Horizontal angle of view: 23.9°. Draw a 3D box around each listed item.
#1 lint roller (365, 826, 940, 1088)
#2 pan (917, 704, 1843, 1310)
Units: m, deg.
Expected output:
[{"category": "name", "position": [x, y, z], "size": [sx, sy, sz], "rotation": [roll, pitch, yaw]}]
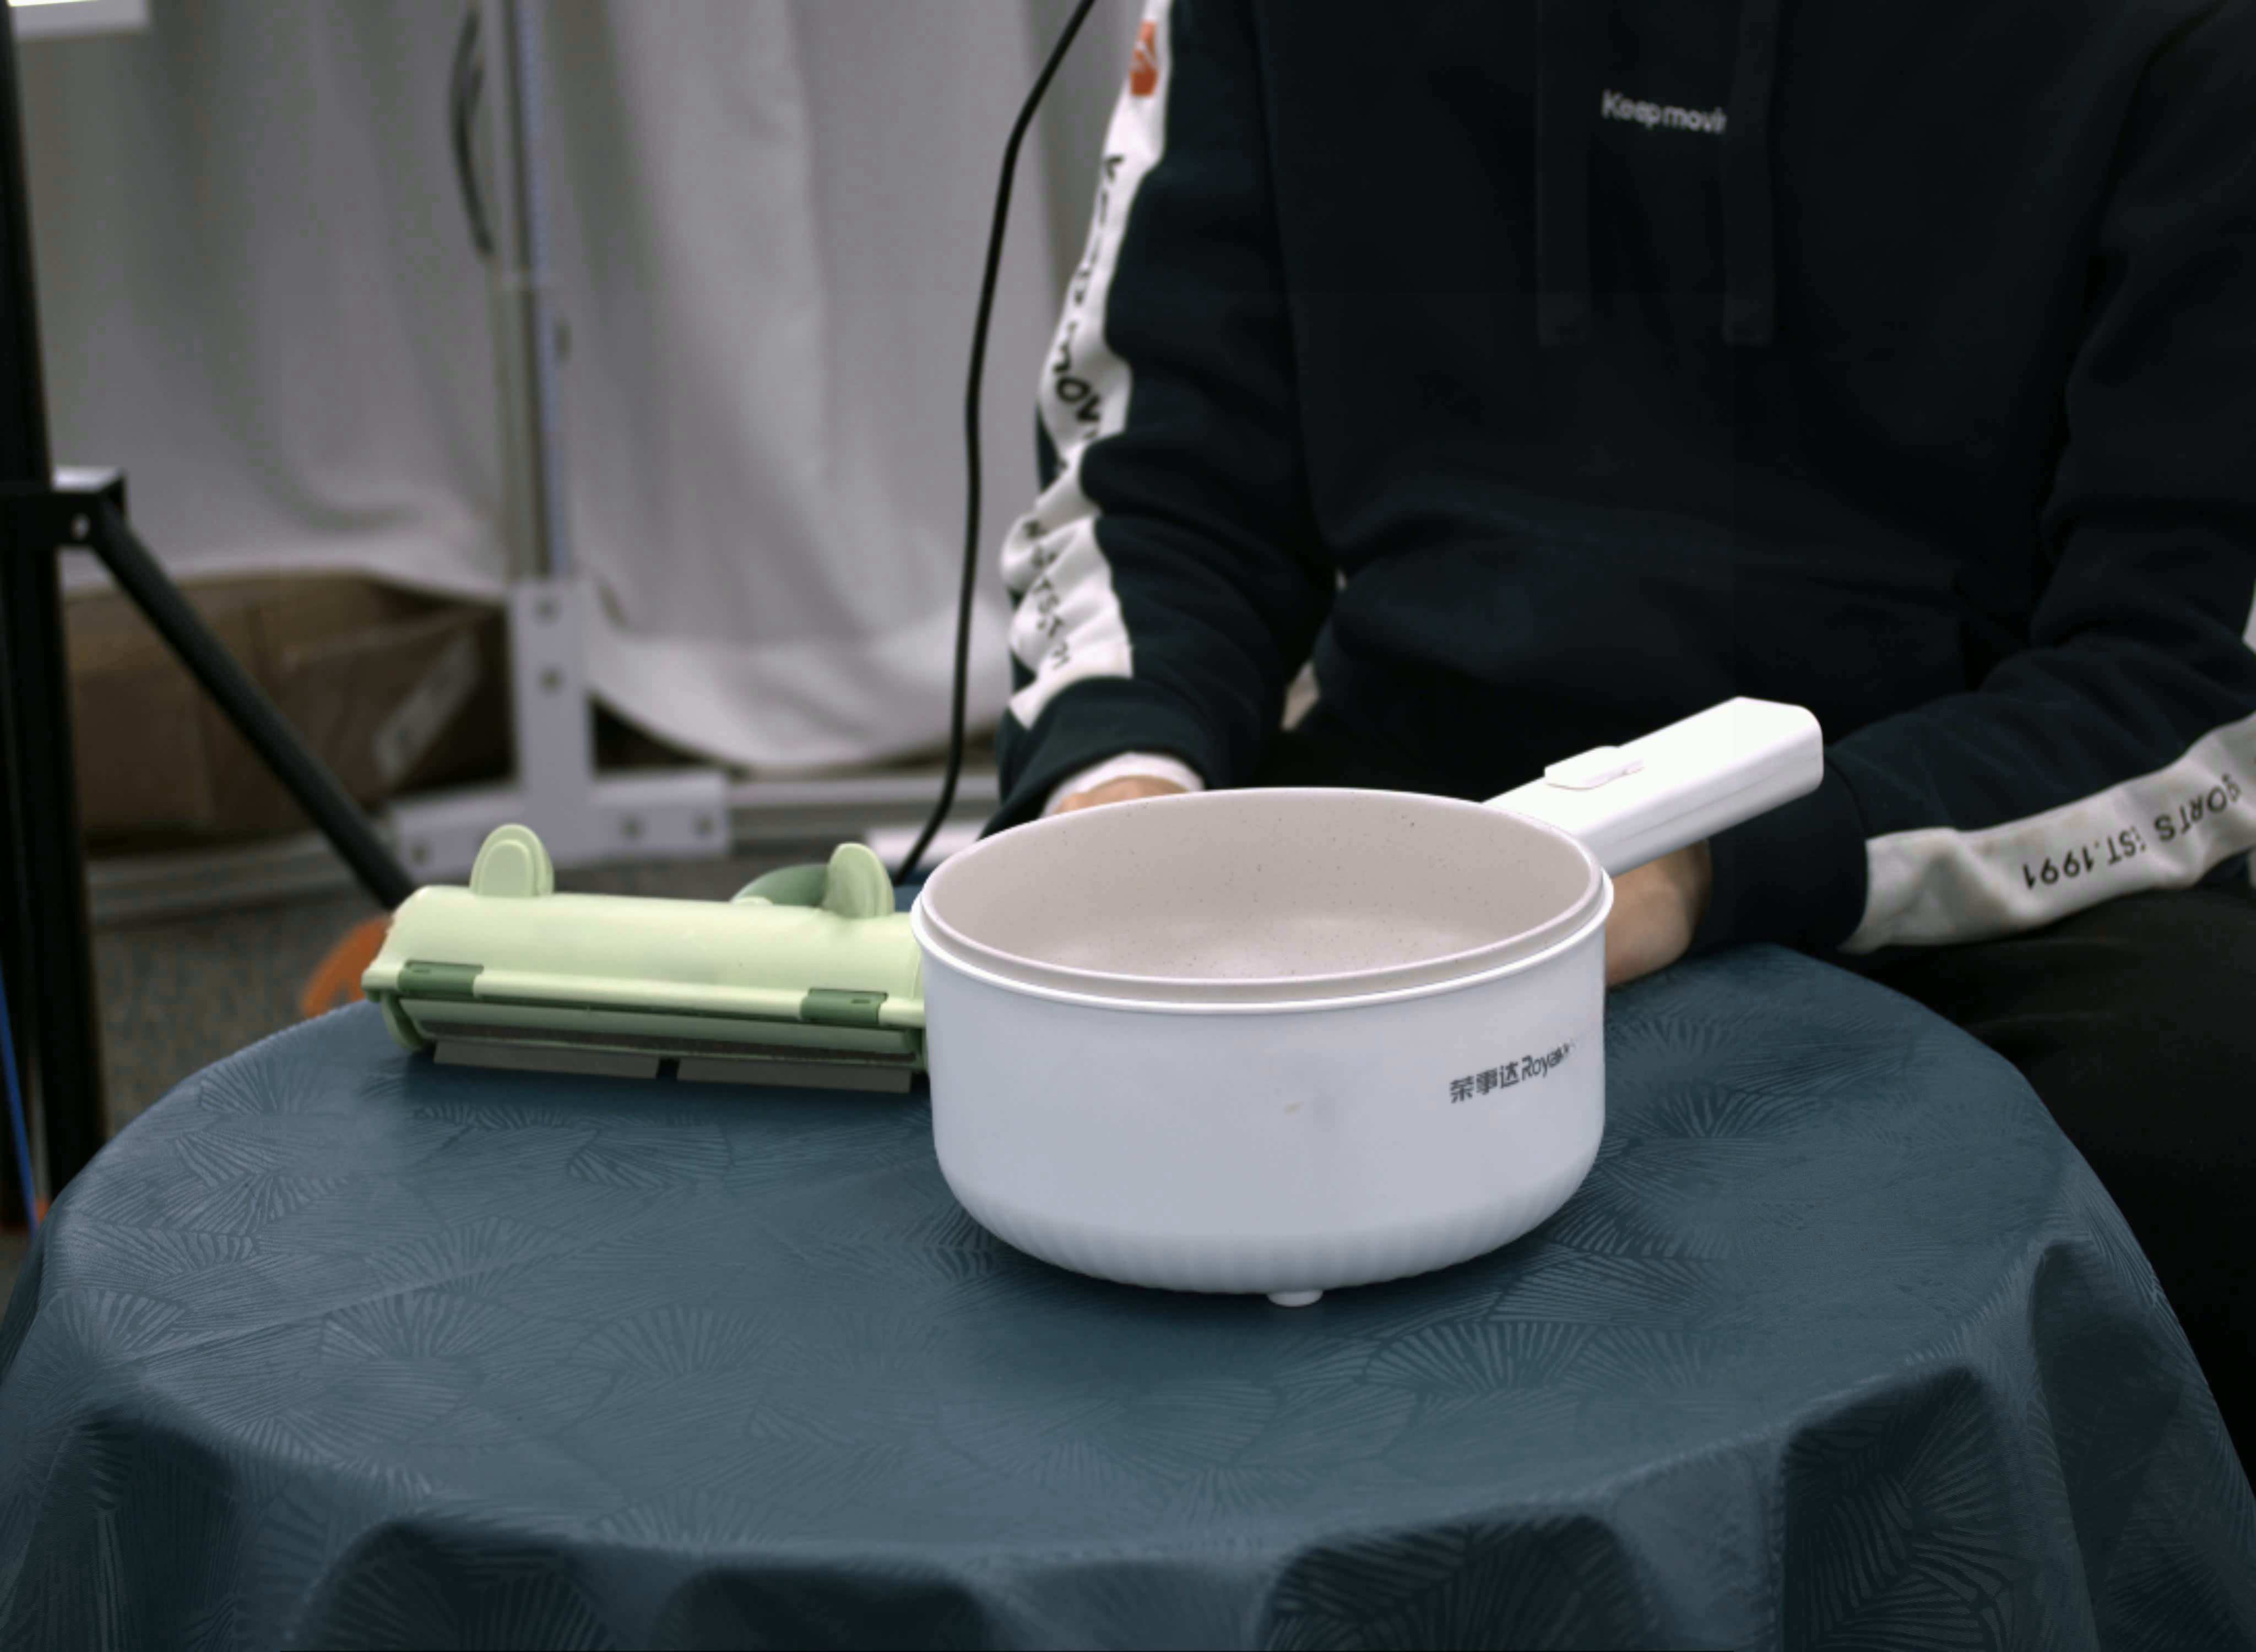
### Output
[{"category": "lint roller", "position": [-0.125, 0.024, 1.736], "size": [0.201, 0.082, 0.182], "rotation": [2, 22, 19]}, {"category": "pan", "position": [0.093, 0.047, 1.574], "size": [0.206, 0.102, 0.347], "rotation": [12, 21, 42]}]
